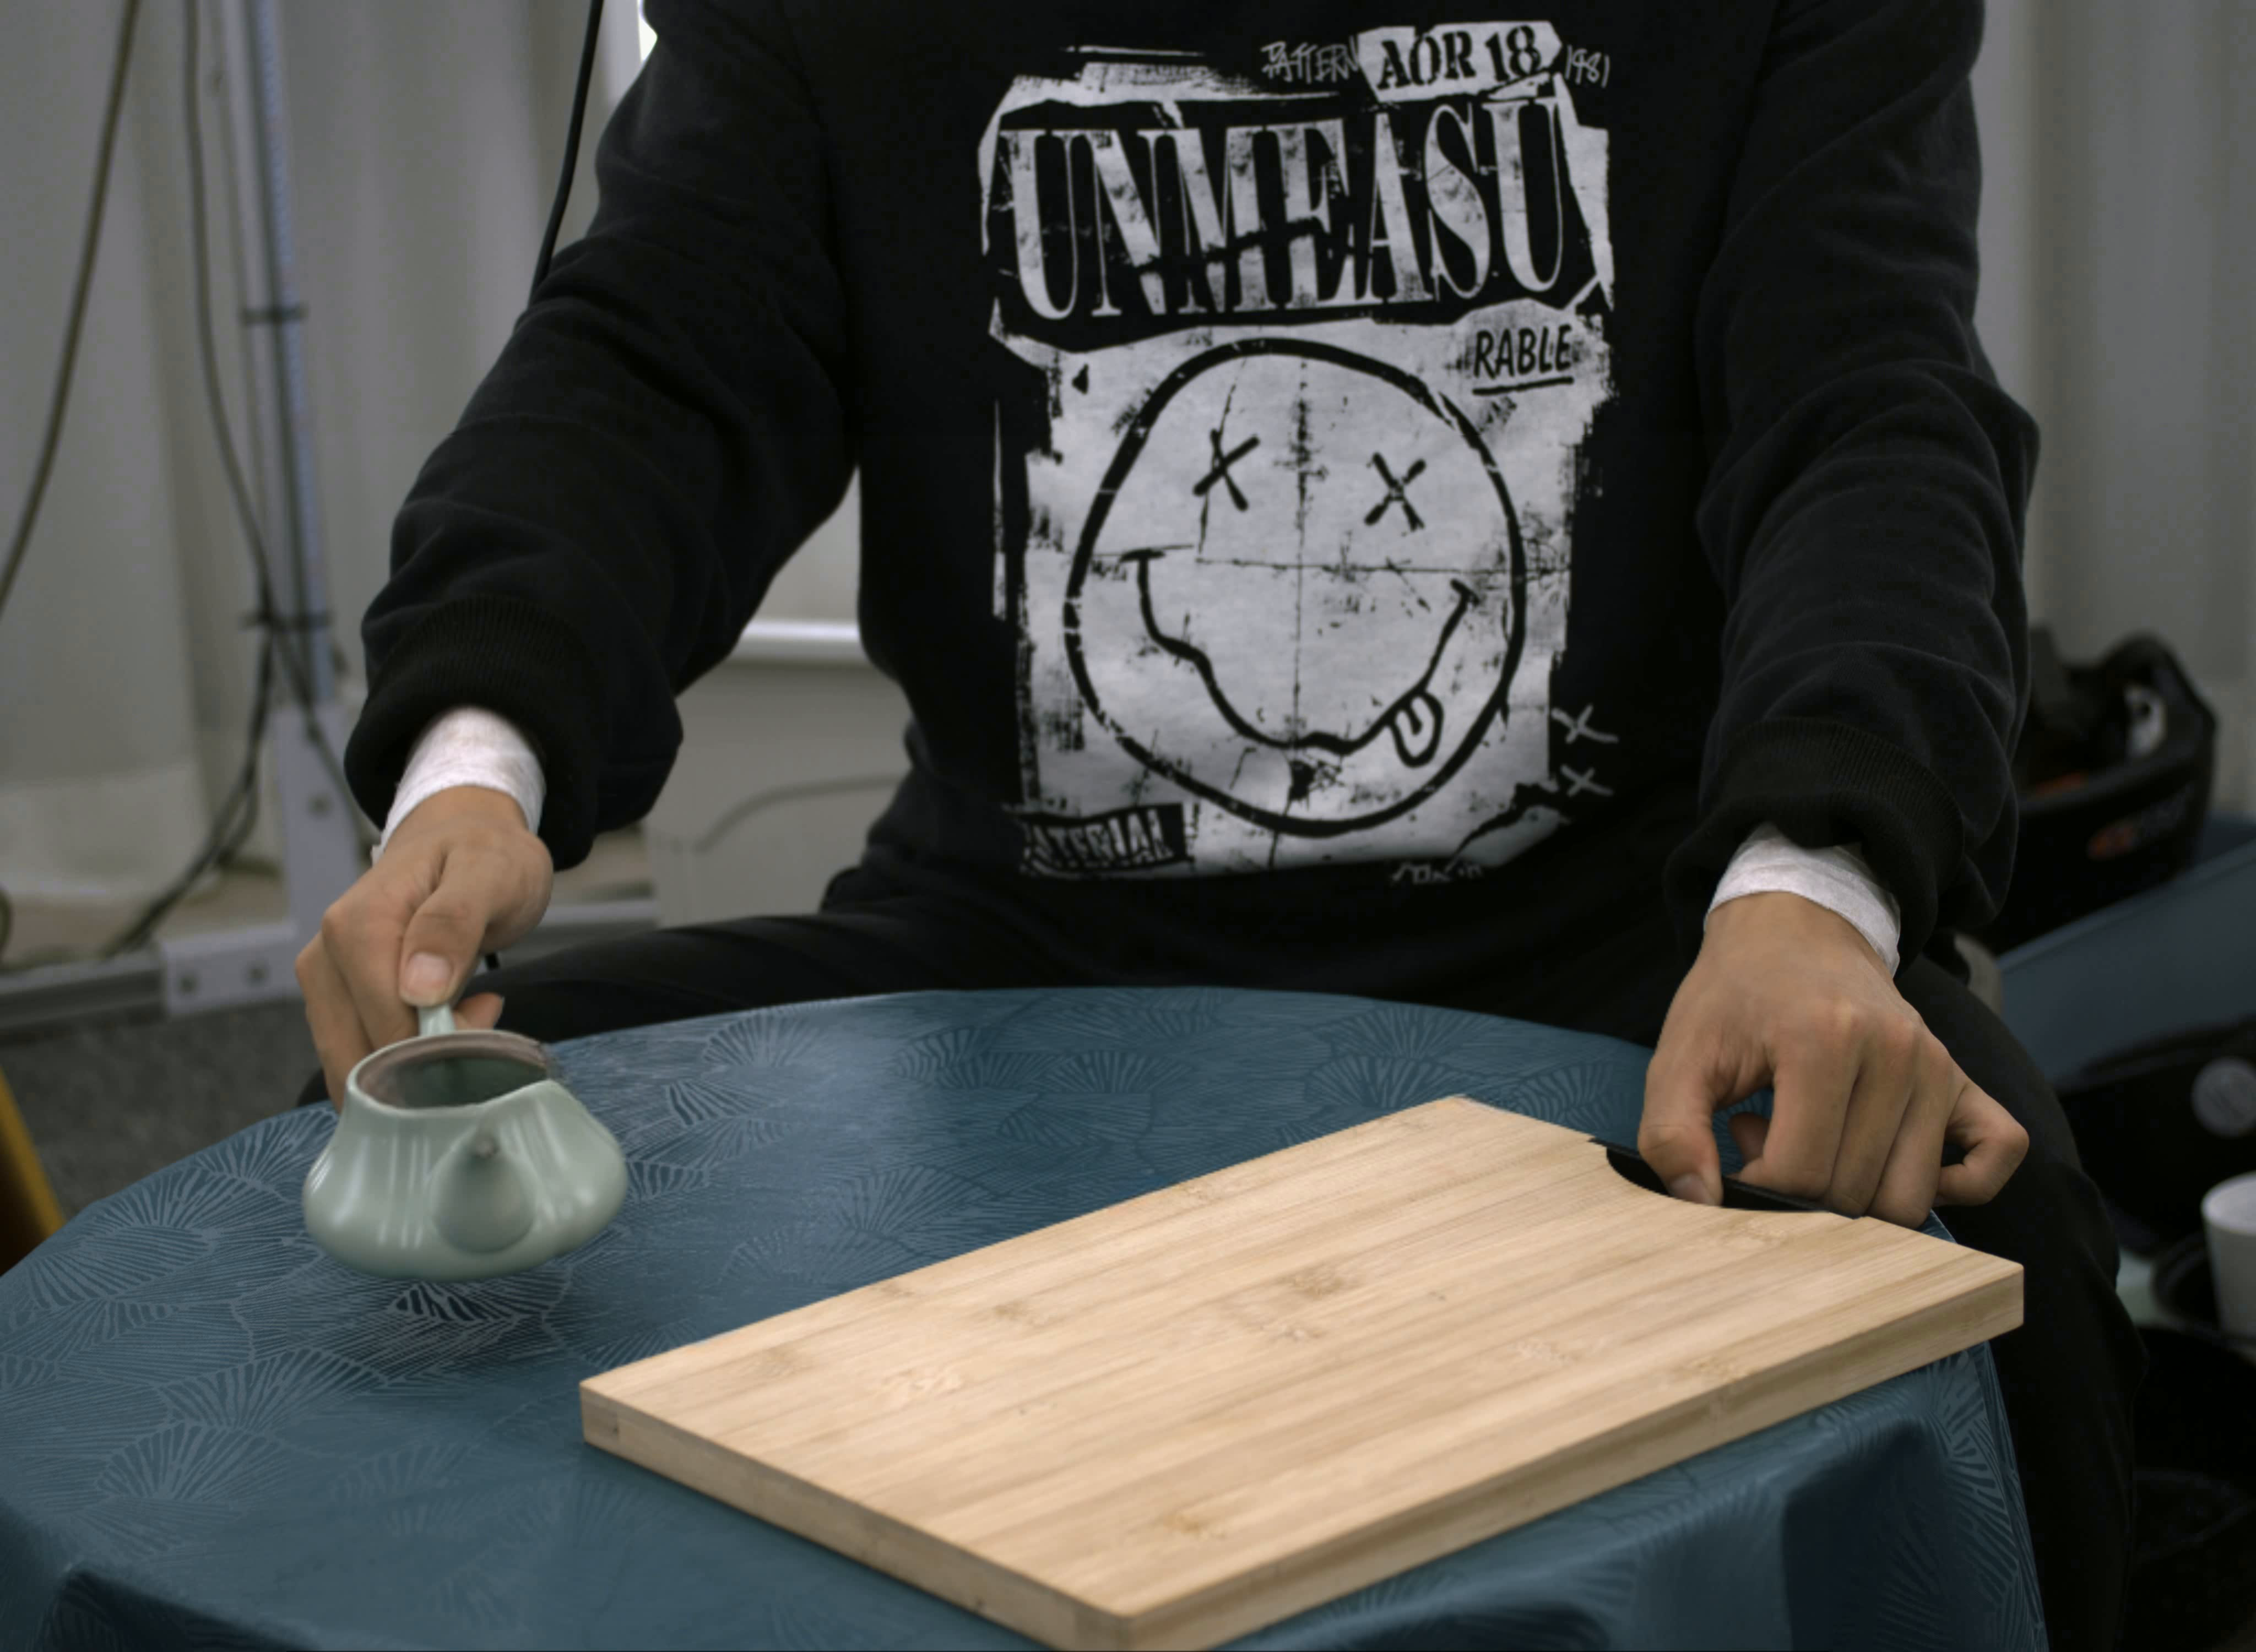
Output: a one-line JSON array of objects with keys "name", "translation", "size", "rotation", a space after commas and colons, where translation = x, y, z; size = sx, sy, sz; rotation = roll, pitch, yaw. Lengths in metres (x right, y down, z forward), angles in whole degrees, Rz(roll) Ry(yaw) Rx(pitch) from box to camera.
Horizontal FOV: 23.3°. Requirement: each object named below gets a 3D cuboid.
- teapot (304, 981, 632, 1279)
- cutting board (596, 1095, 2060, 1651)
[{"name": "teapot", "translation": [-0.196, 0.093, 1.613], "size": [0.096, 0.061, 0.138], "rotation": [-10, 22, -14]}, {"name": "cutting board", "translation": [0.056, 0.149, 1.543], "size": [0.348, 0.023, 0.252], "rotation": [-16, 20, -39]}]
